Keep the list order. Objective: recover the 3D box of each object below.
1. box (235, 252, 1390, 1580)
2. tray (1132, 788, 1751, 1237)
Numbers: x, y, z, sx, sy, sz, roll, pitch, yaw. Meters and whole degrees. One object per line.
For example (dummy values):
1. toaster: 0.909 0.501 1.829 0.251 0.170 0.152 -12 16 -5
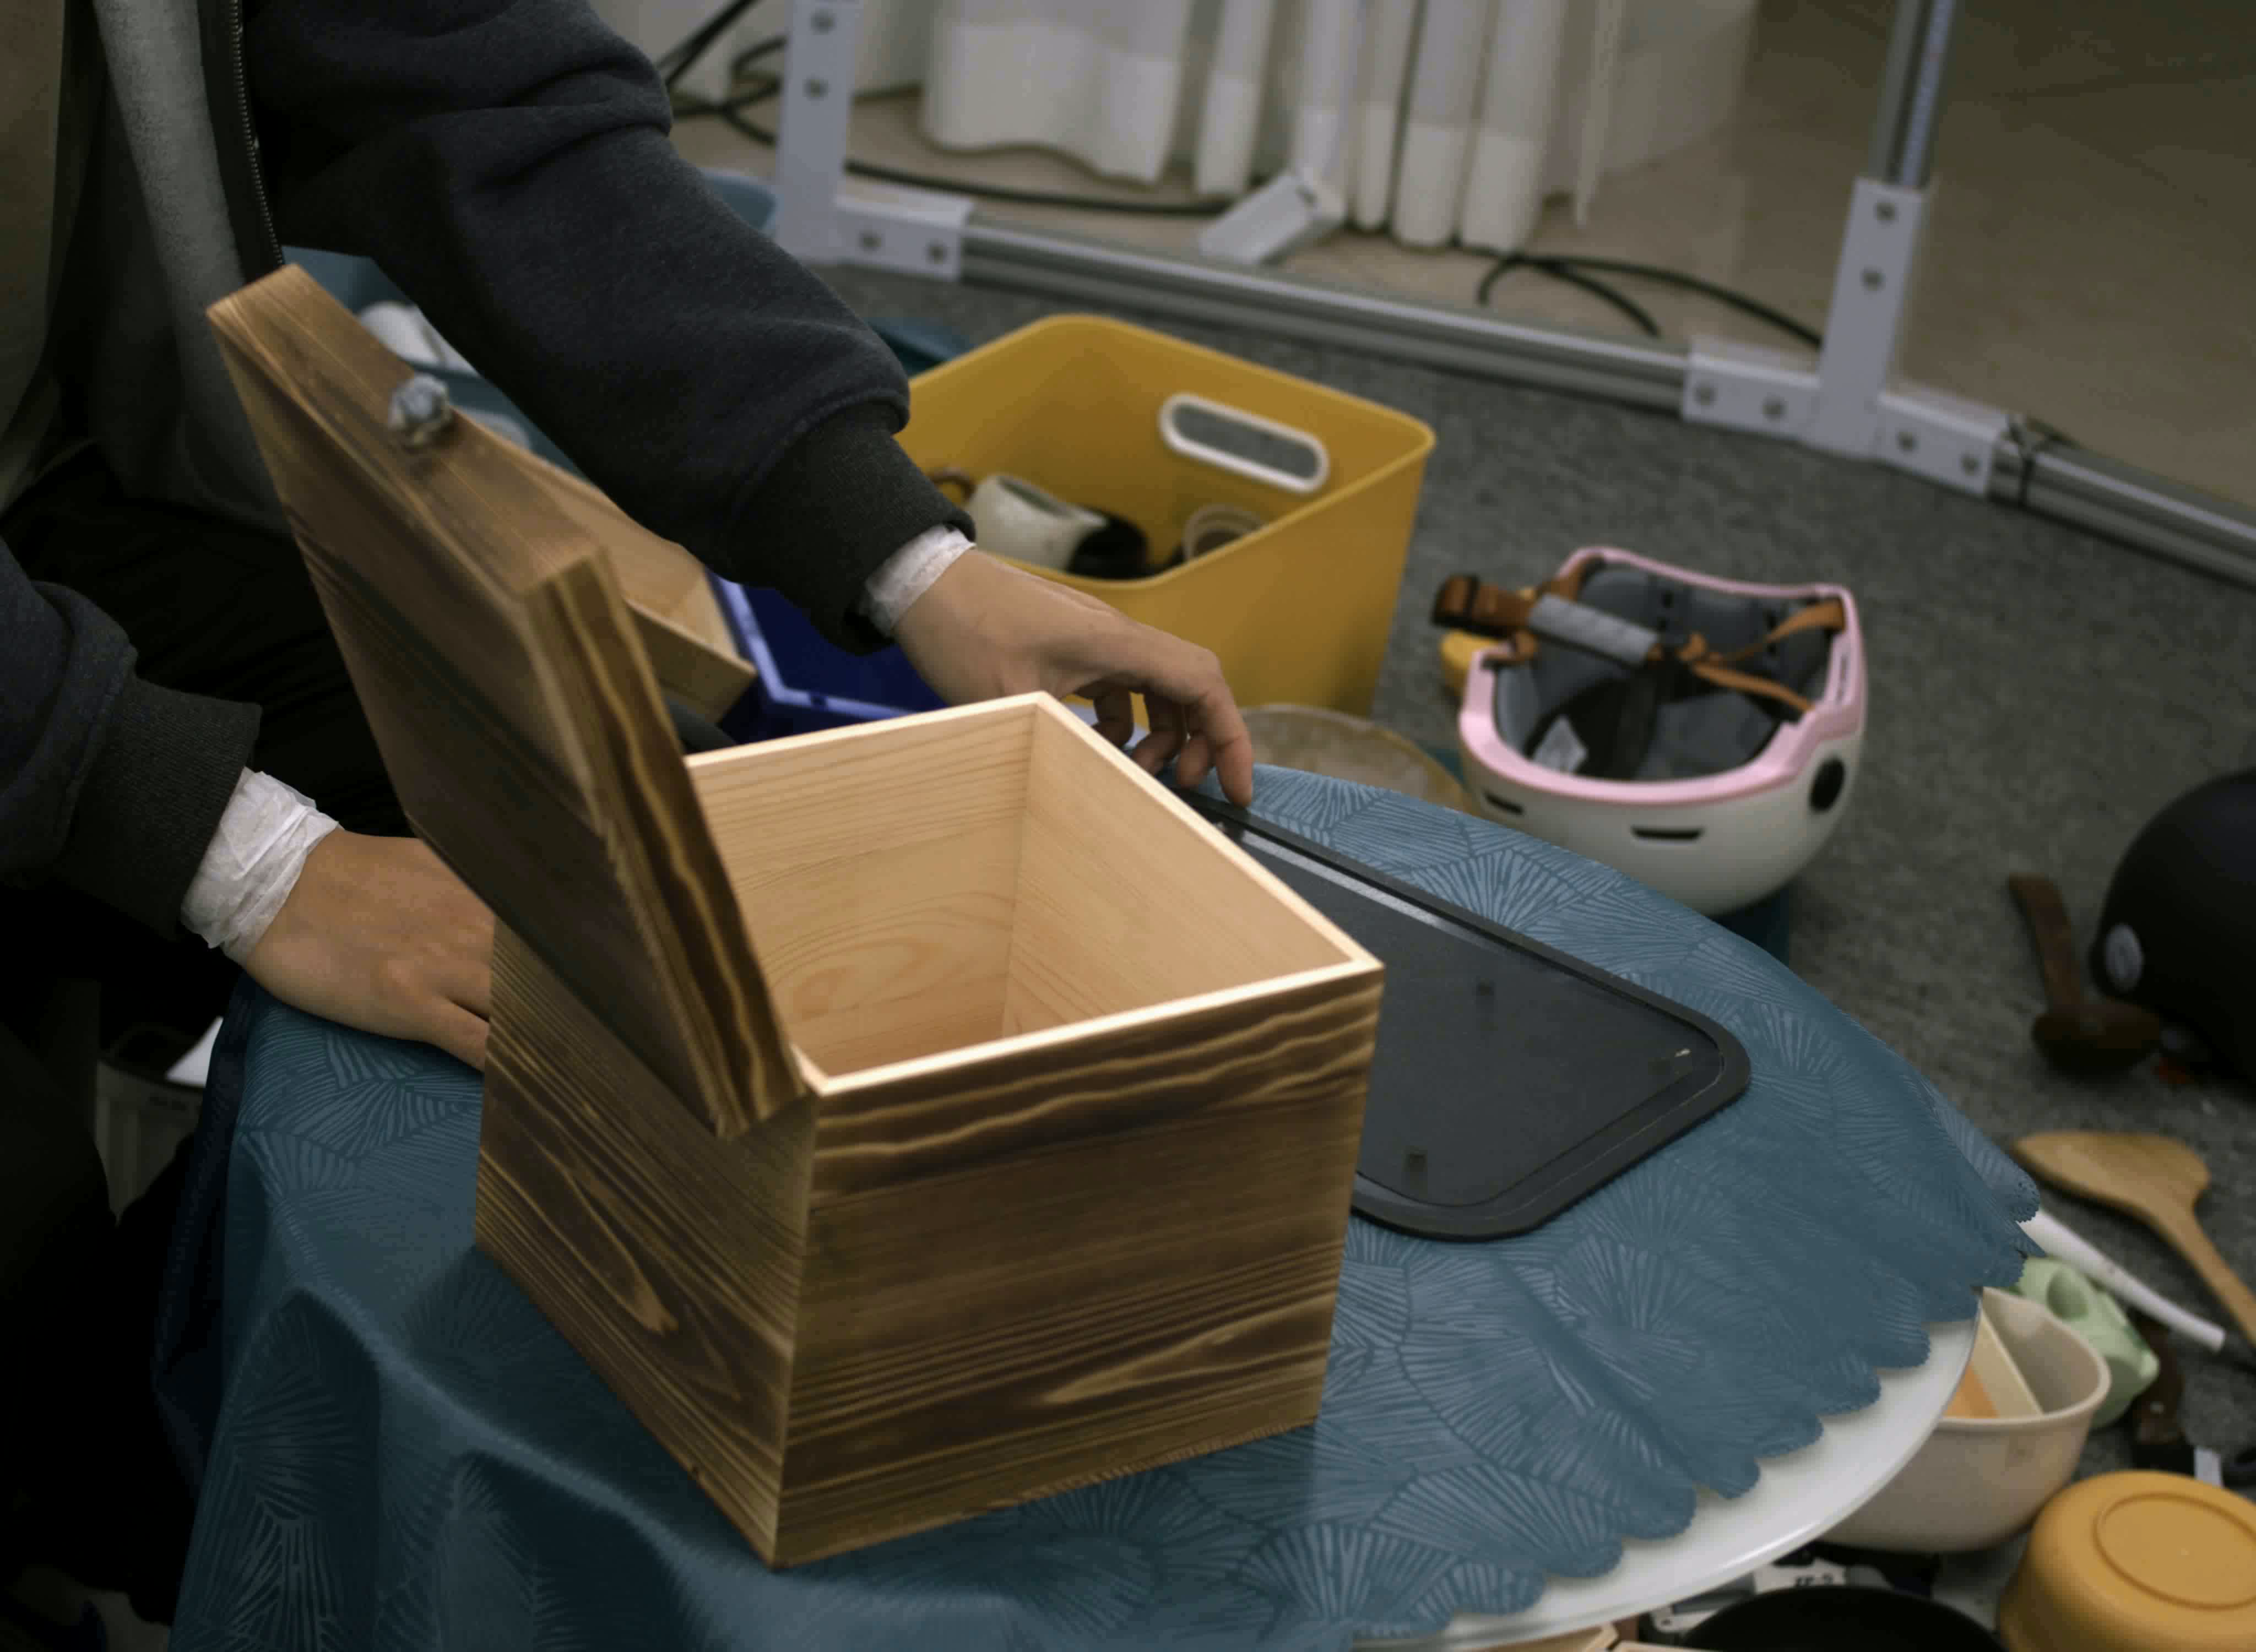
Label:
1. box: -0.100 0.015 1.599 0.320 0.374 0.210 -12 33 -31
2. tray: 0.052 0.059 1.933 0.327 0.010 0.210 24 32 31
